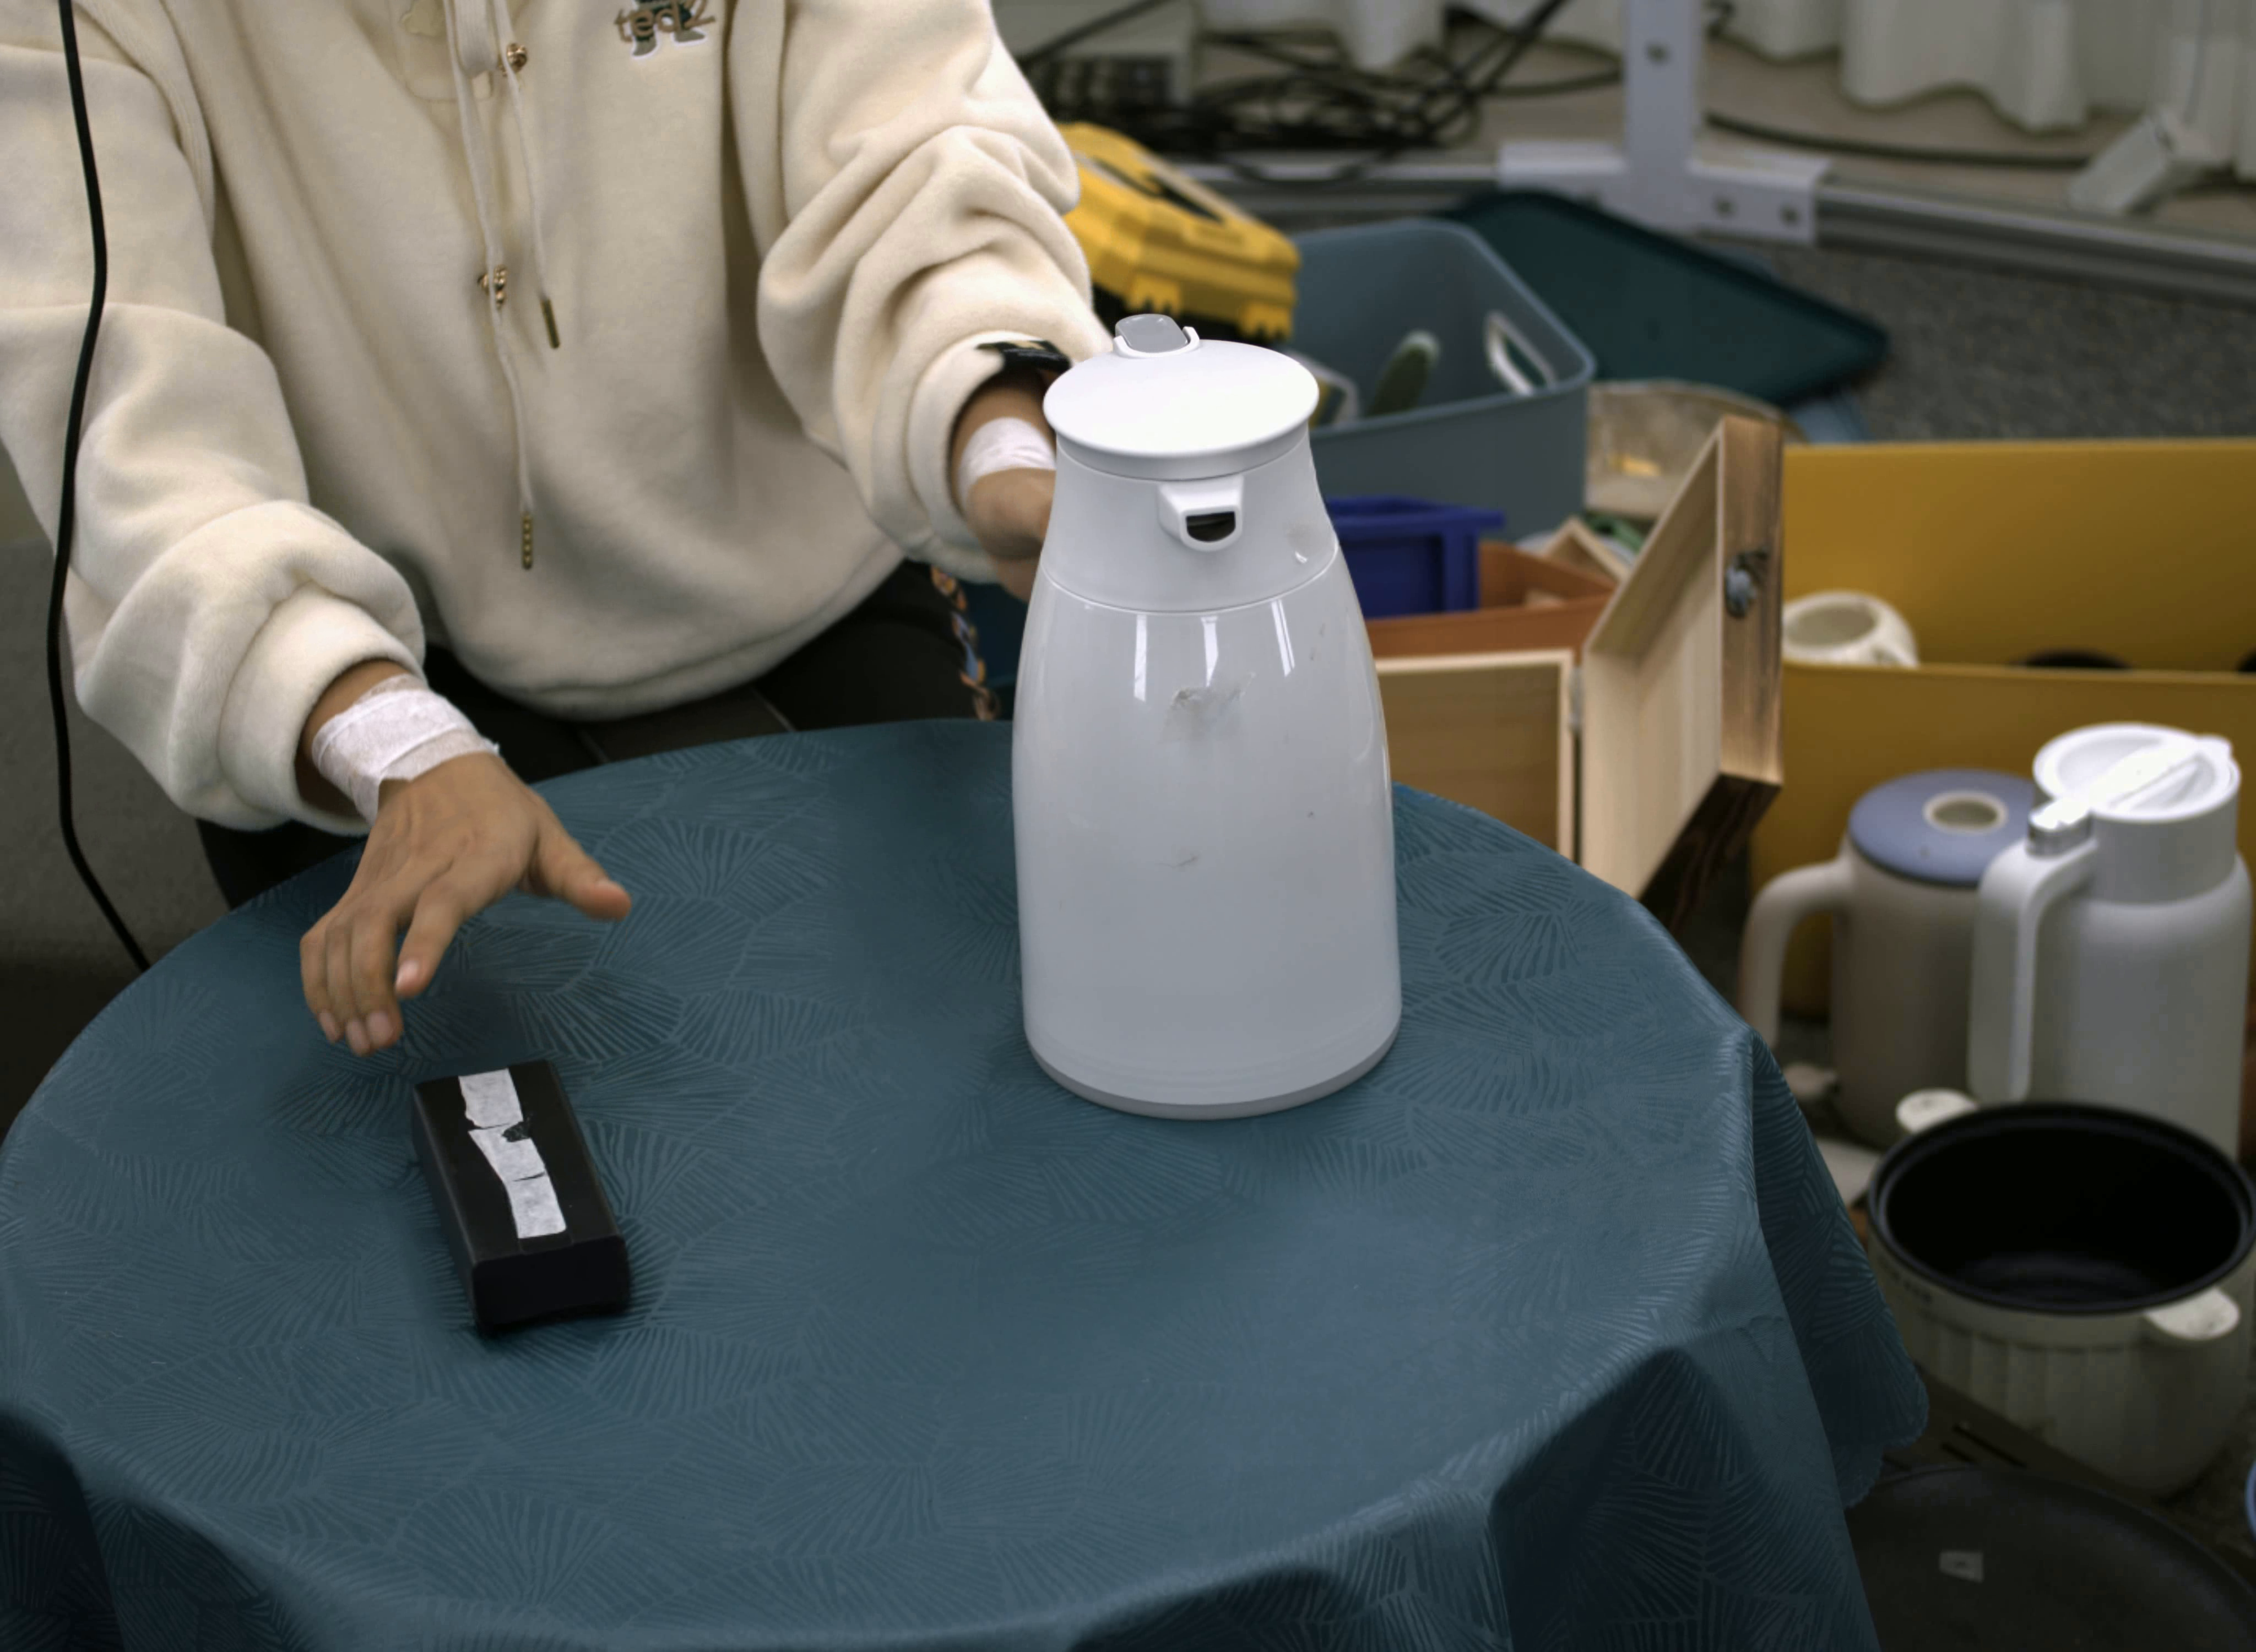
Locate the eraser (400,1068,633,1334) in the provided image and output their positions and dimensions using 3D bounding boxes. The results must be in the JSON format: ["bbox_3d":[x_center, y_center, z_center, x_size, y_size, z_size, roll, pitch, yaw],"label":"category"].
[{"bbox_3d":[-0.201,0.123,1.848,0.053,0.030,0.126,-8,27,-16],"label":"eraser"}]

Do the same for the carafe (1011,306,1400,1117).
[{"bbox_3d":[0.019,-0.049,1.922,0.132,0.246,0.170,-7,26,-7],"label":"carafe"}]
